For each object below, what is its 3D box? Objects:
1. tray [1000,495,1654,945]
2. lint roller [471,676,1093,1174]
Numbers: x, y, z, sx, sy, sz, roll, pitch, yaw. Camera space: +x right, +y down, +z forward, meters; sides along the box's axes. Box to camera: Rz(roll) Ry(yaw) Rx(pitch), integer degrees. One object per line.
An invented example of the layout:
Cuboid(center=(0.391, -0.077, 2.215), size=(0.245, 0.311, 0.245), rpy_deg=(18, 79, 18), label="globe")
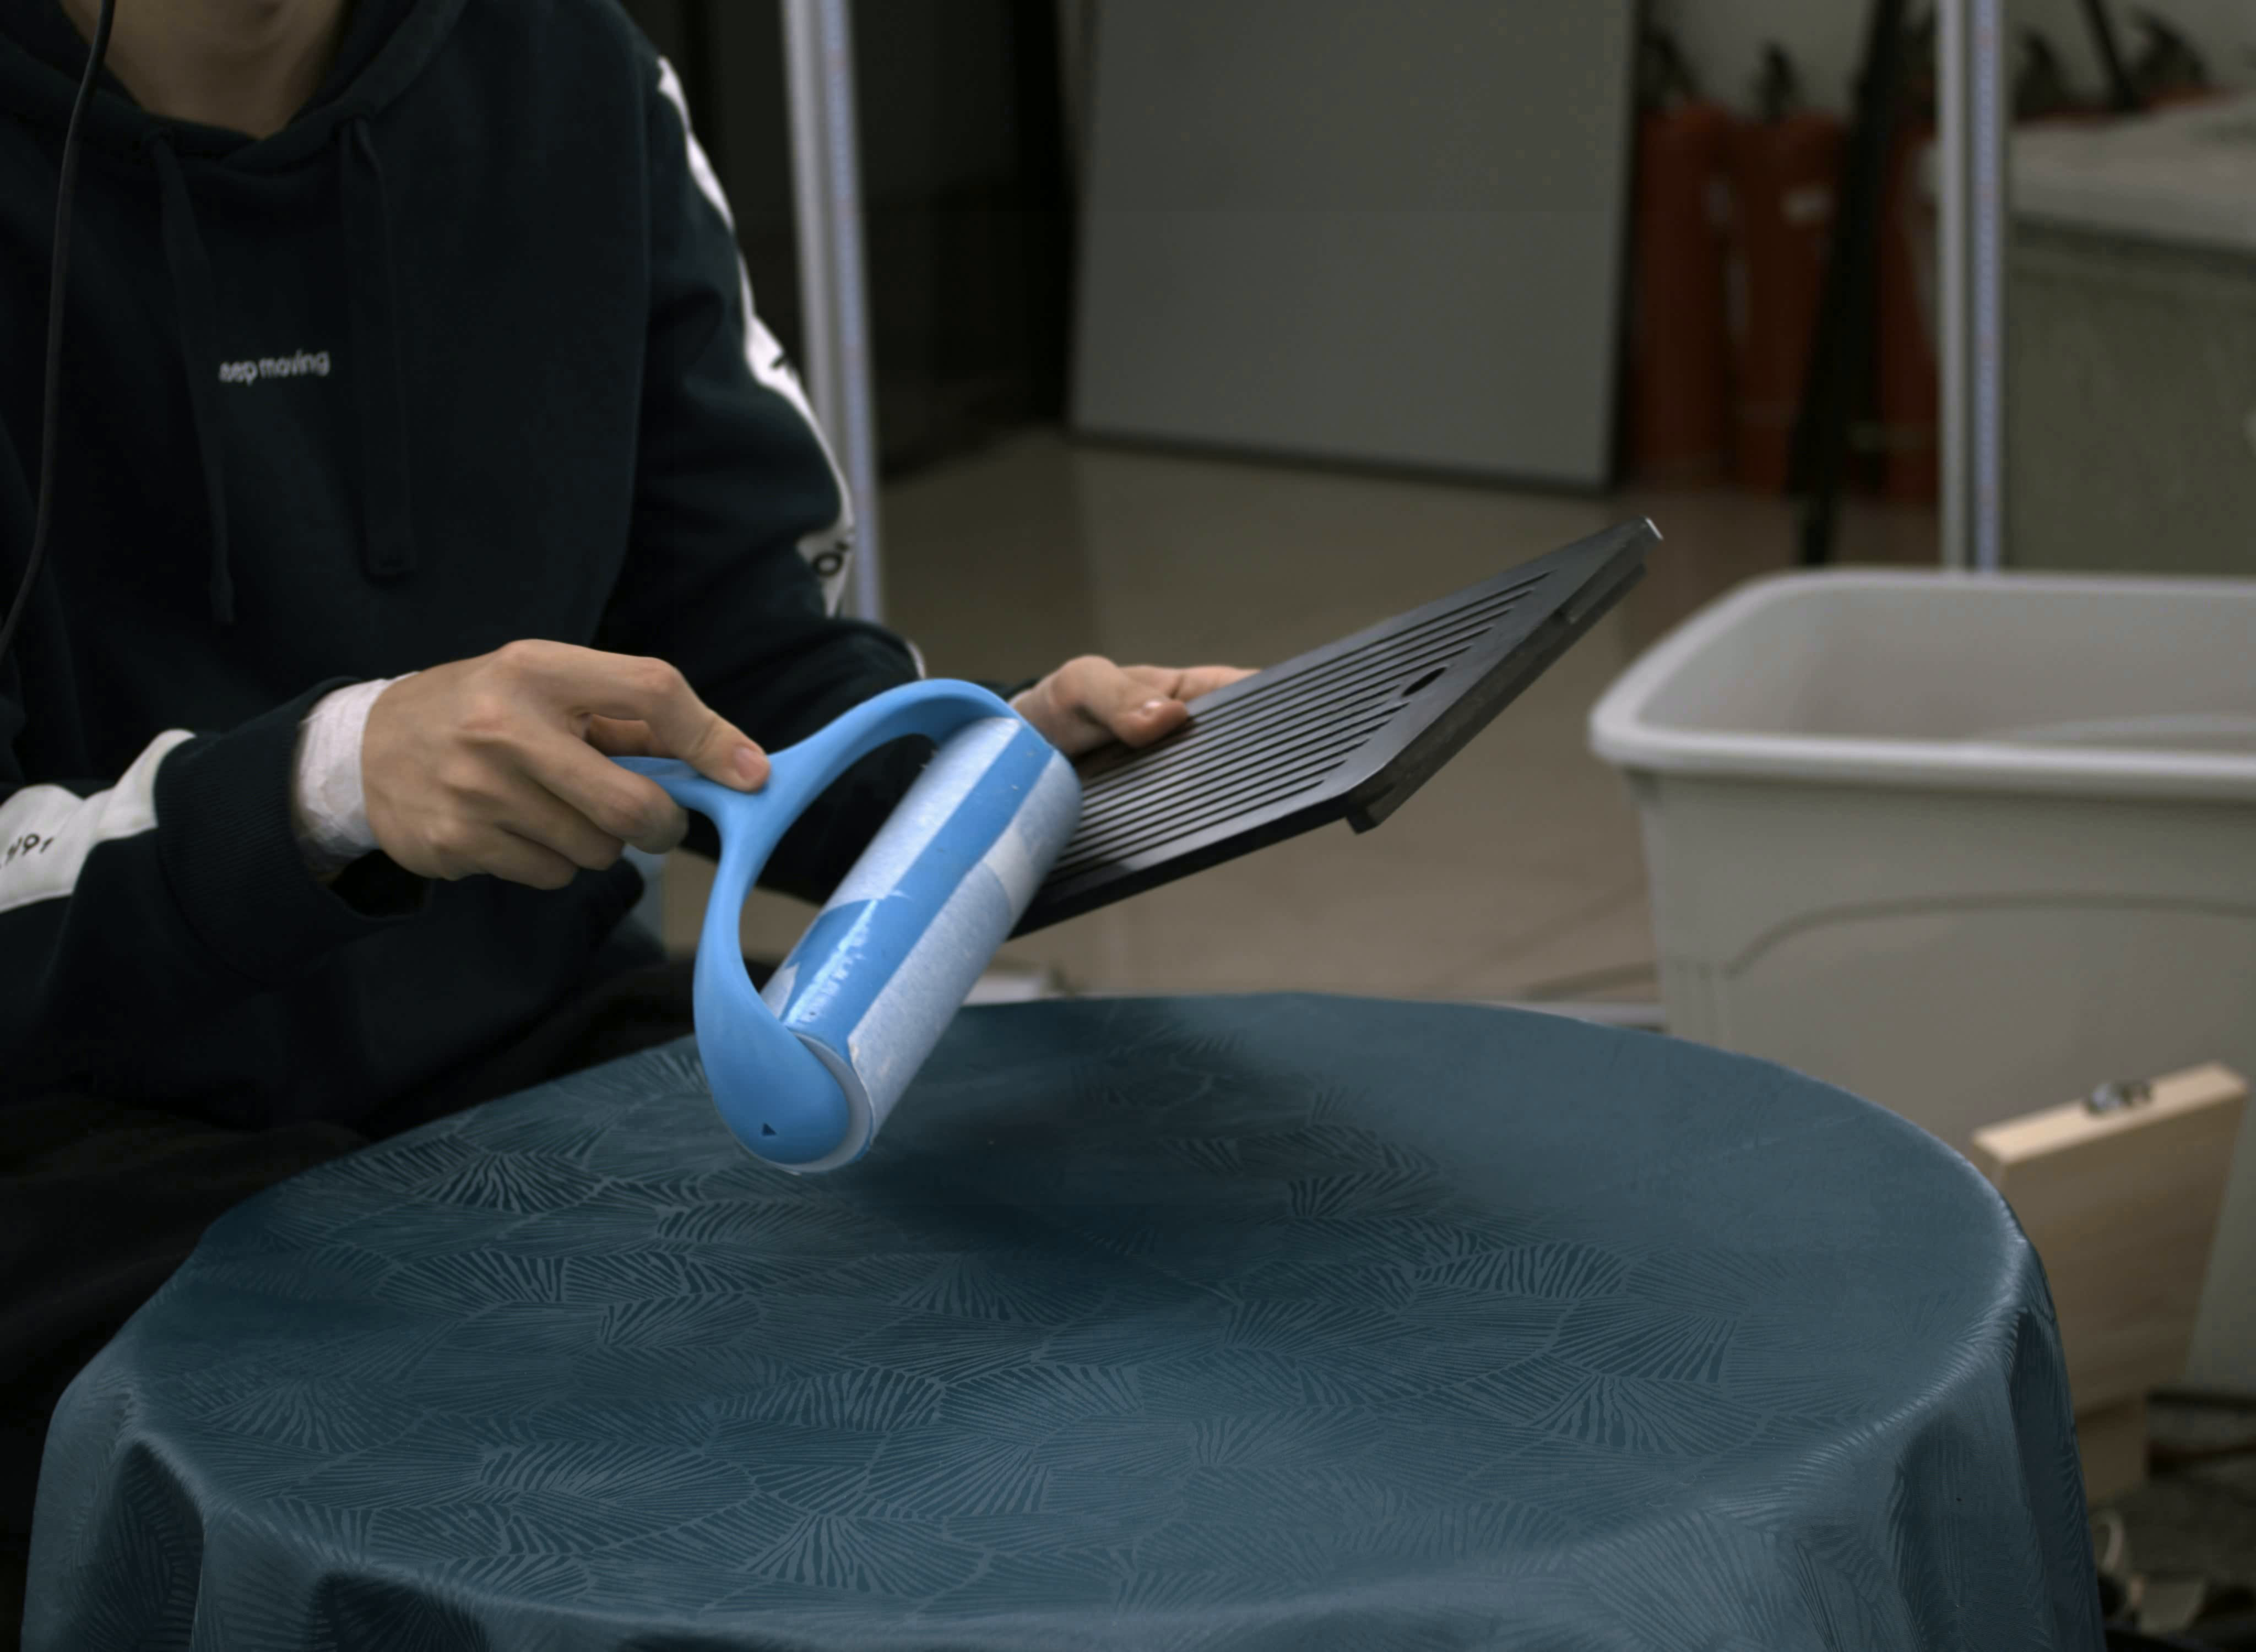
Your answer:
Cuboid(center=(0.035, -0.018, 1.764), size=(0.168, 0.018, 0.309), rpy_deg=(-43, 12, -37), label="tray")
Cuboid(center=(-0.121, 0.012, 1.693), size=(0.179, 0.068, 0.228), rpy_deg=(20, 37, 8), label="lint roller")
